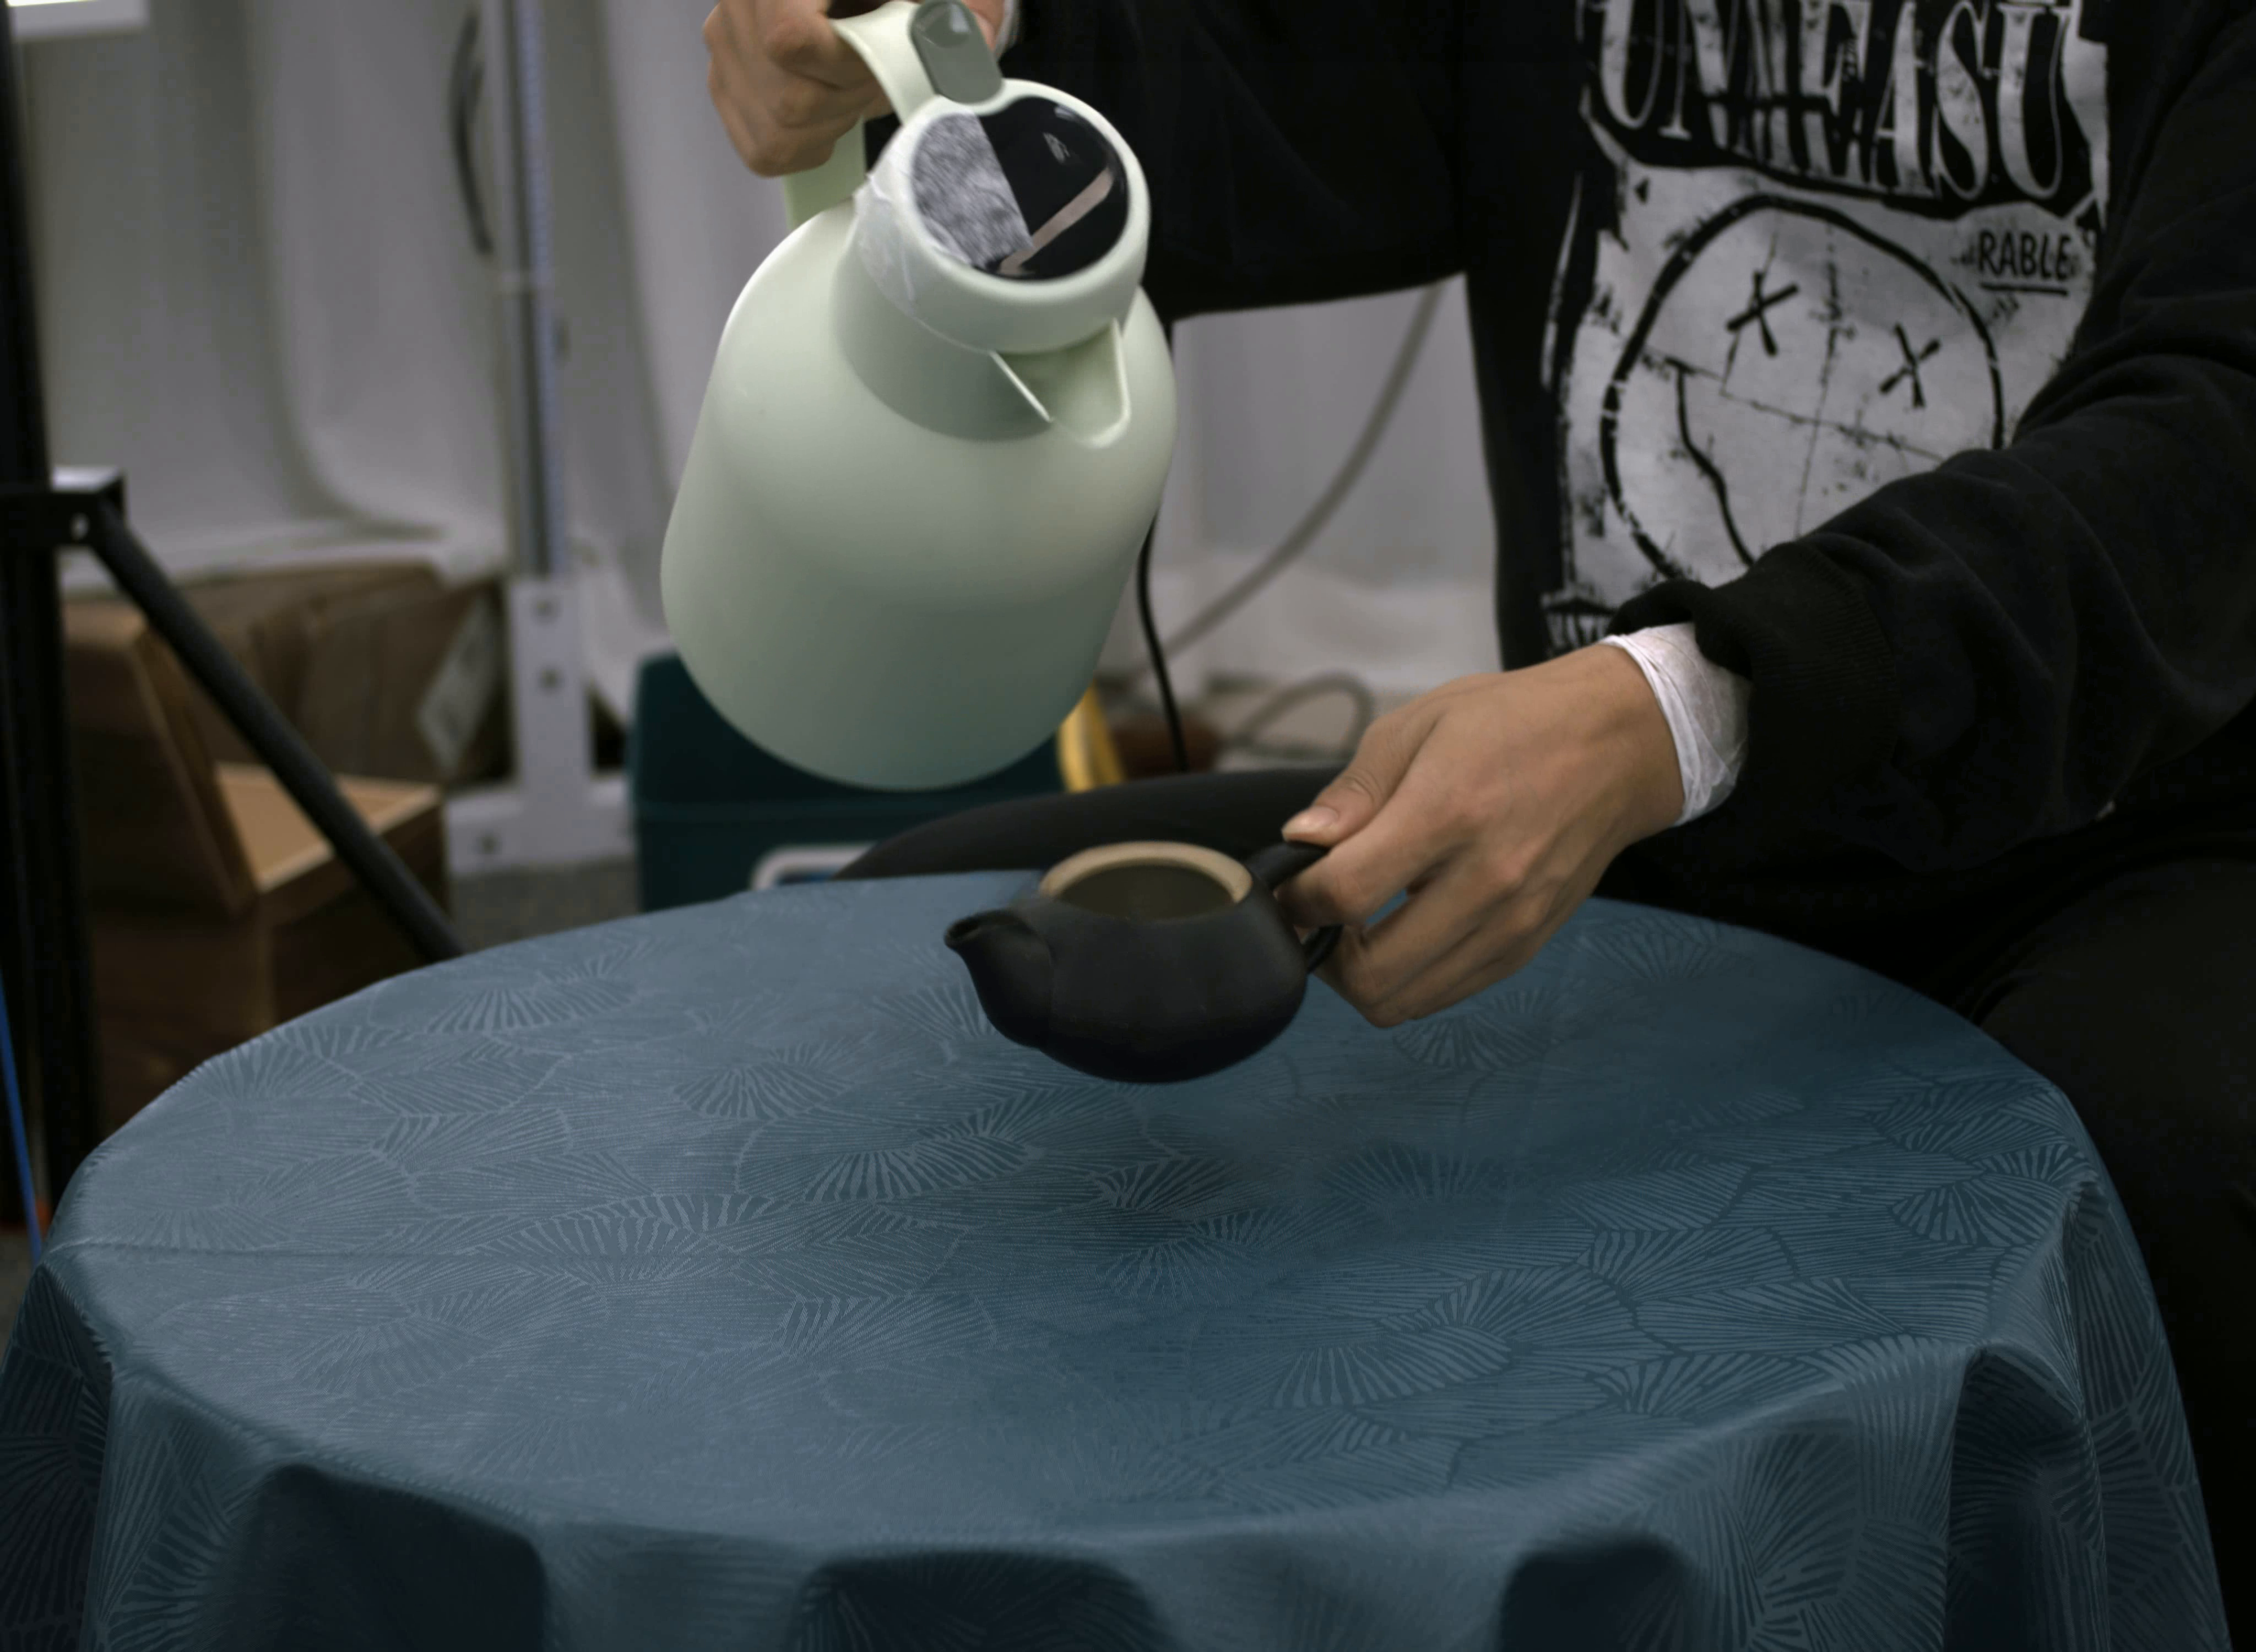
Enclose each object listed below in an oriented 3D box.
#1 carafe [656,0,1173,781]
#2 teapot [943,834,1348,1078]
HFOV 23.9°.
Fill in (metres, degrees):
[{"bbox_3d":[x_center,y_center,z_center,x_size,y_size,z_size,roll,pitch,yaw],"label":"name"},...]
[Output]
[{"bbox_3d":[-0.062,-0.140,1.615,0.142,0.189,0.257,-17,-23,-20],"label":"carafe"},{"bbox_3d":[0.006,0.037,1.526,0.130,0.053,0.093,-13,27,-26],"label":"teapot"}]
